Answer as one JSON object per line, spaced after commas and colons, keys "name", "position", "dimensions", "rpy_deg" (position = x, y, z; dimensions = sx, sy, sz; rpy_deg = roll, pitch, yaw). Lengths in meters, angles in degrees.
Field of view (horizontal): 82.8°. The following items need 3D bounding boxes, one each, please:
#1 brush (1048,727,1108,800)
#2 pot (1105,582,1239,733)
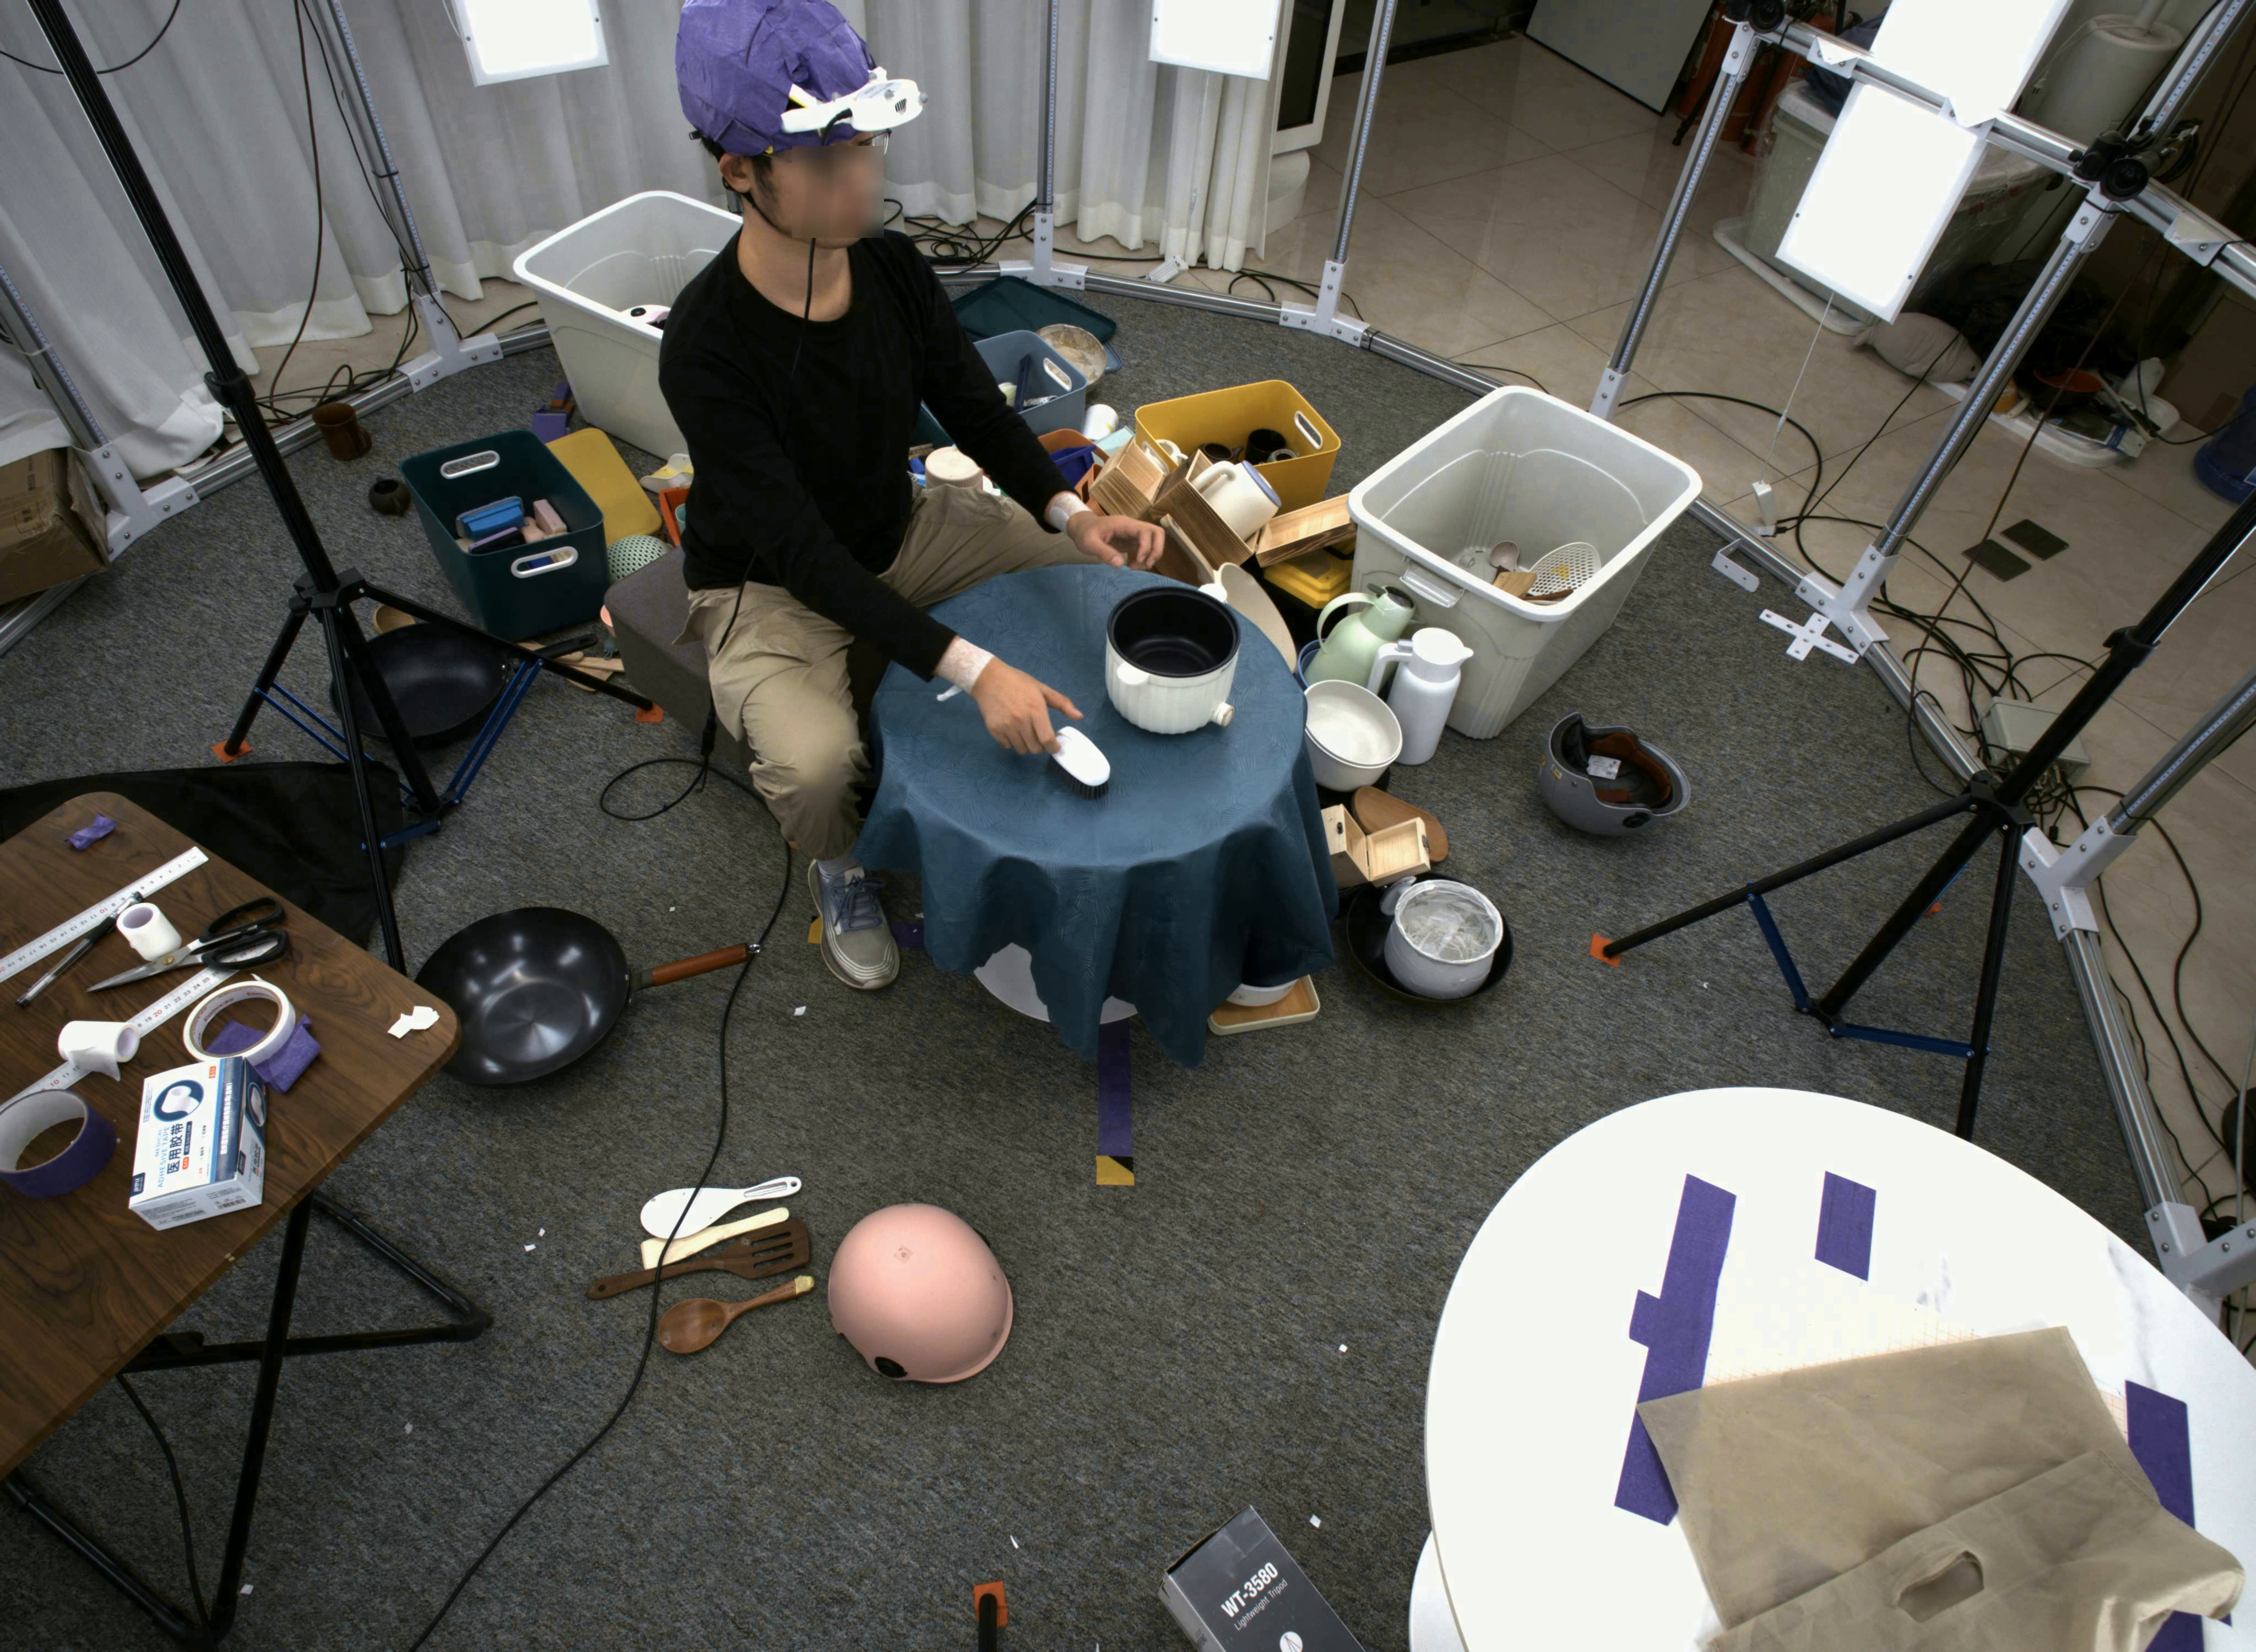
{"name": "brush", "position": [-0.066, -0.091, 1.697], "dimensions": [0.050, 0.071, 0.101], "rpy_deg": [-32, 58, -28]}
{"name": "pot", "position": [0.062, -0.222, 1.778], "dimensions": [0.192, 0.139, 0.244], "rpy_deg": [26, 54, 21]}
